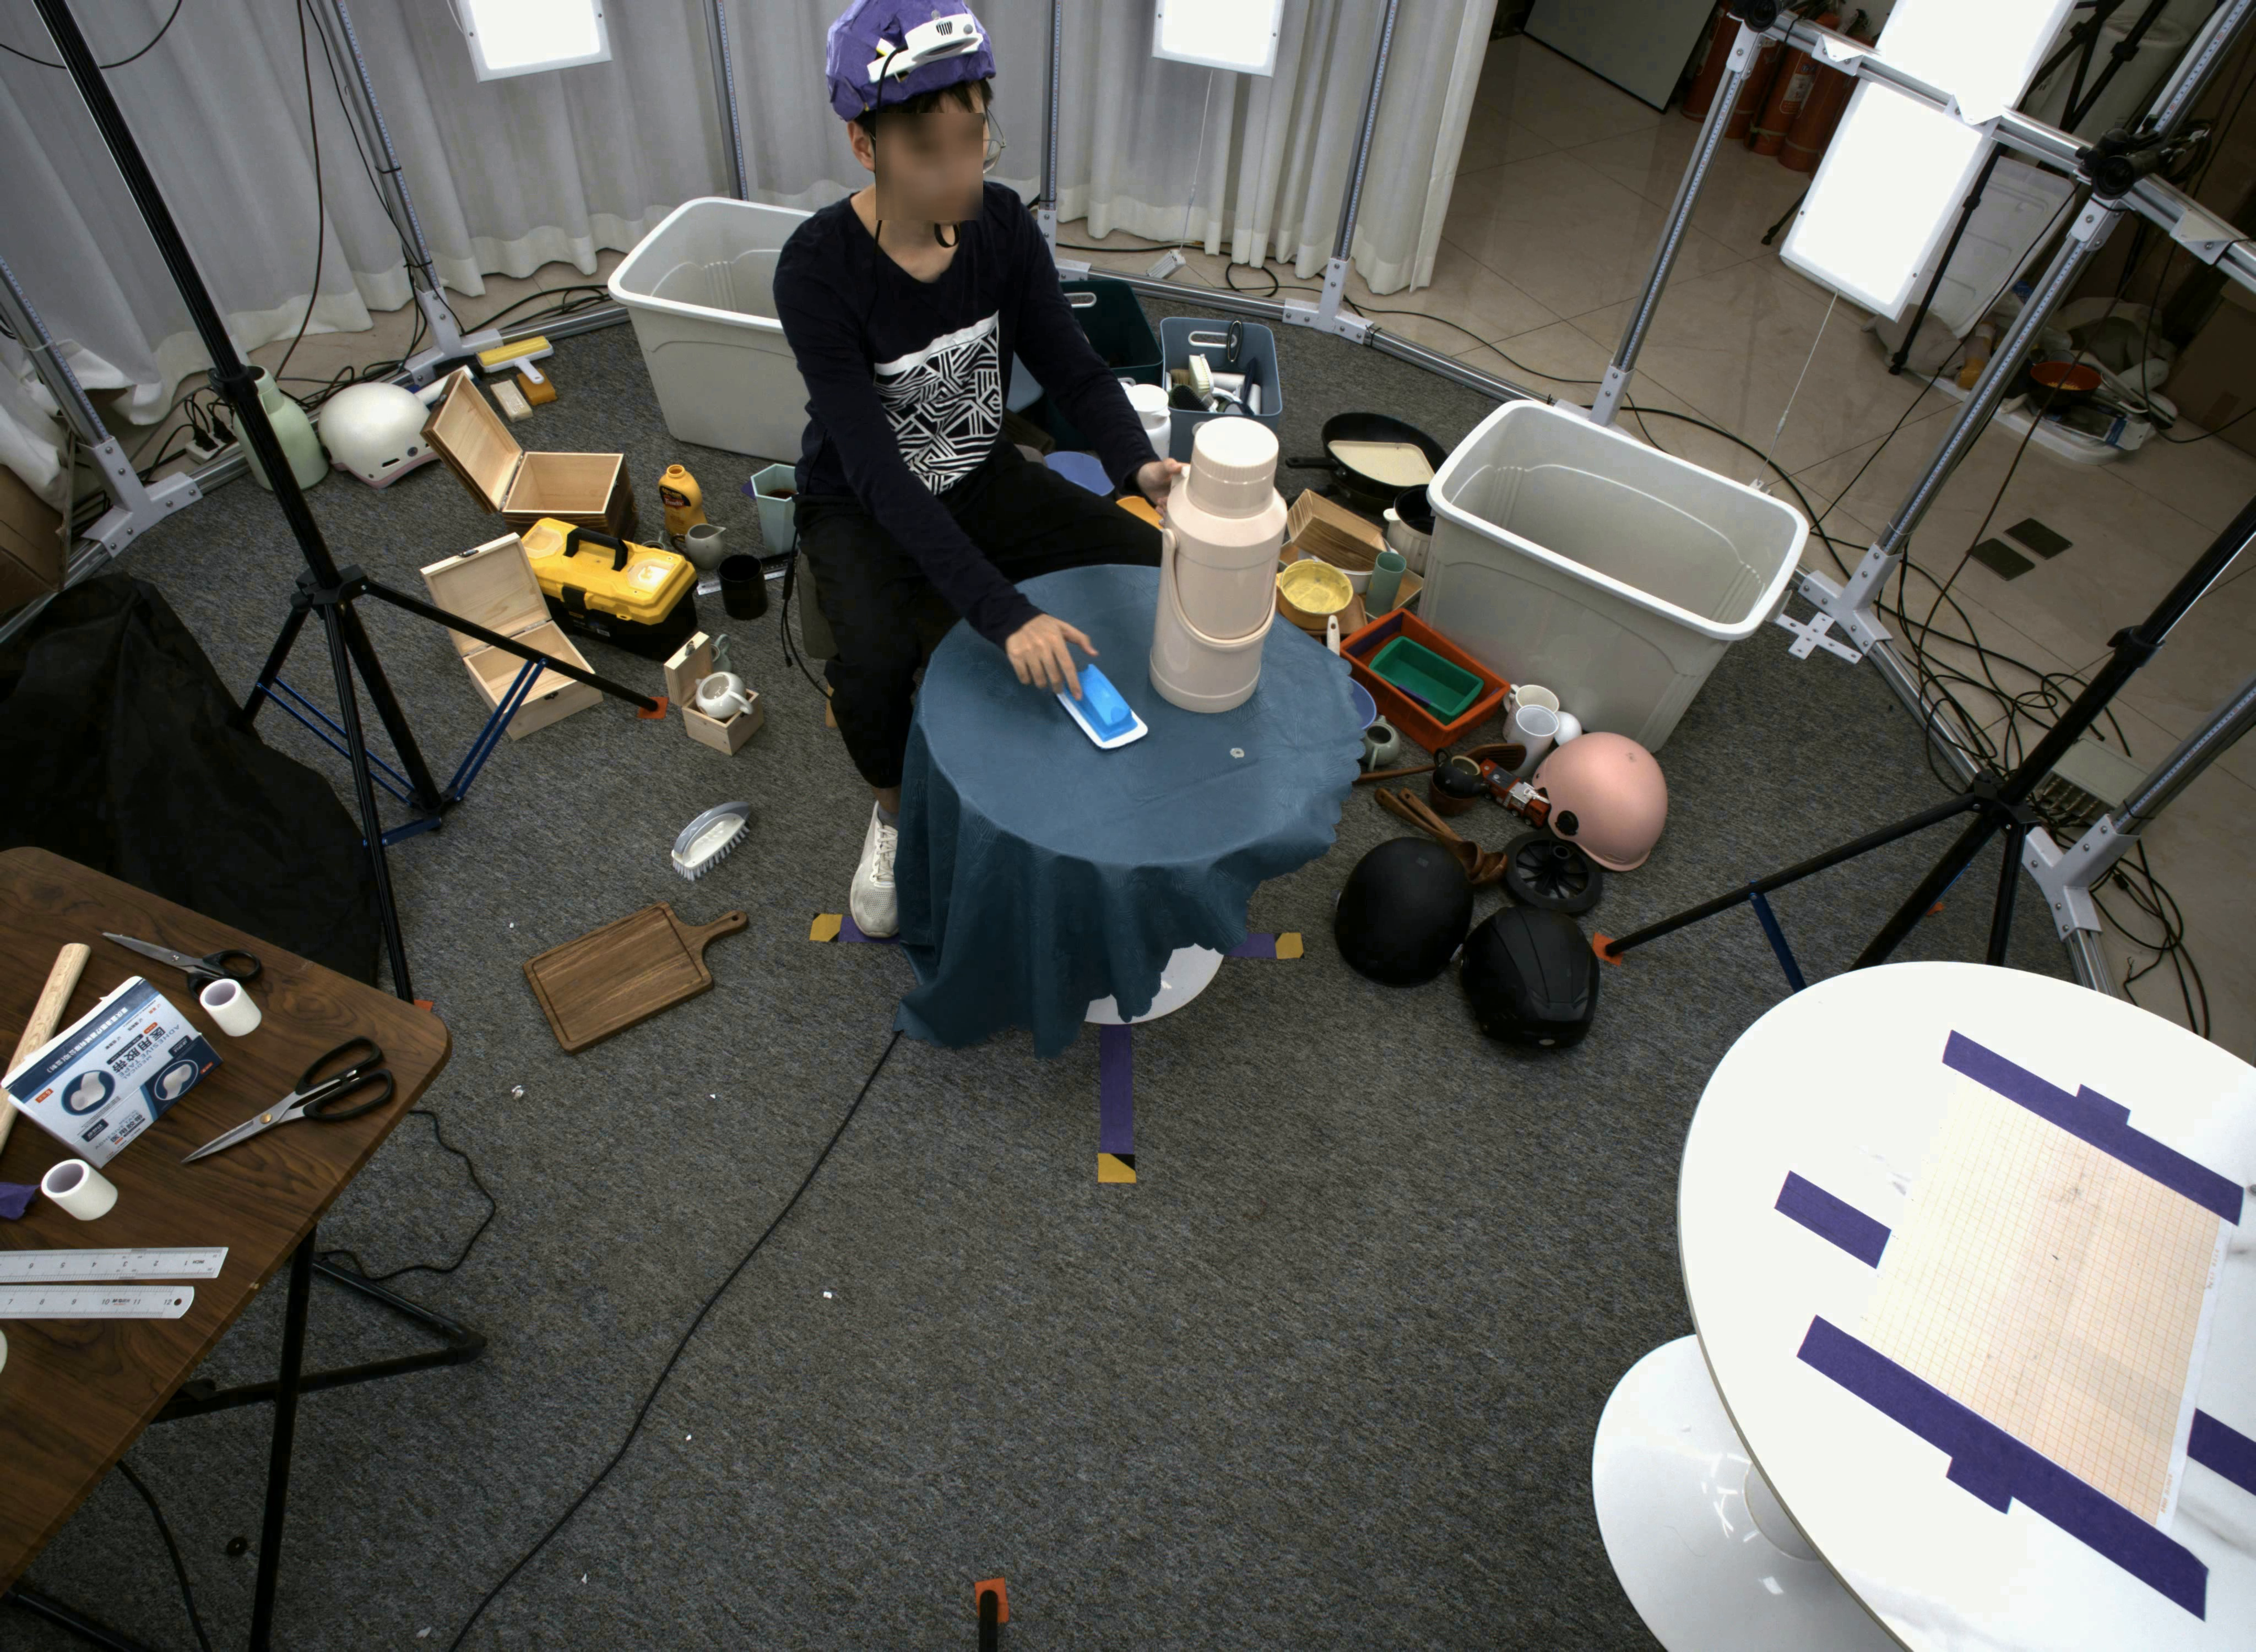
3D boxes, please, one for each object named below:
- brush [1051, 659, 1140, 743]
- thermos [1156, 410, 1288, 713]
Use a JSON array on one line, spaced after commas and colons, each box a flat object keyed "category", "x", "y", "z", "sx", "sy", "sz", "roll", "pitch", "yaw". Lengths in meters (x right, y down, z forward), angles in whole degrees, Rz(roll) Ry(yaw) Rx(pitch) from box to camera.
[{"category": "brush", "x": -0.043, "y": -0.181, "z": 1.781, "sx": 0.084, "sy": 0.054, "sz": 0.147, "roll": -19, "pitch": 56, "yaw": -24}, {"category": "thermos", "x": 0.119, "y": -0.357, "z": 1.730, "sx": 0.176, "sy": 0.396, "sz": 0.211, "roll": -22, "pitch": 53, "yaw": -20}]
